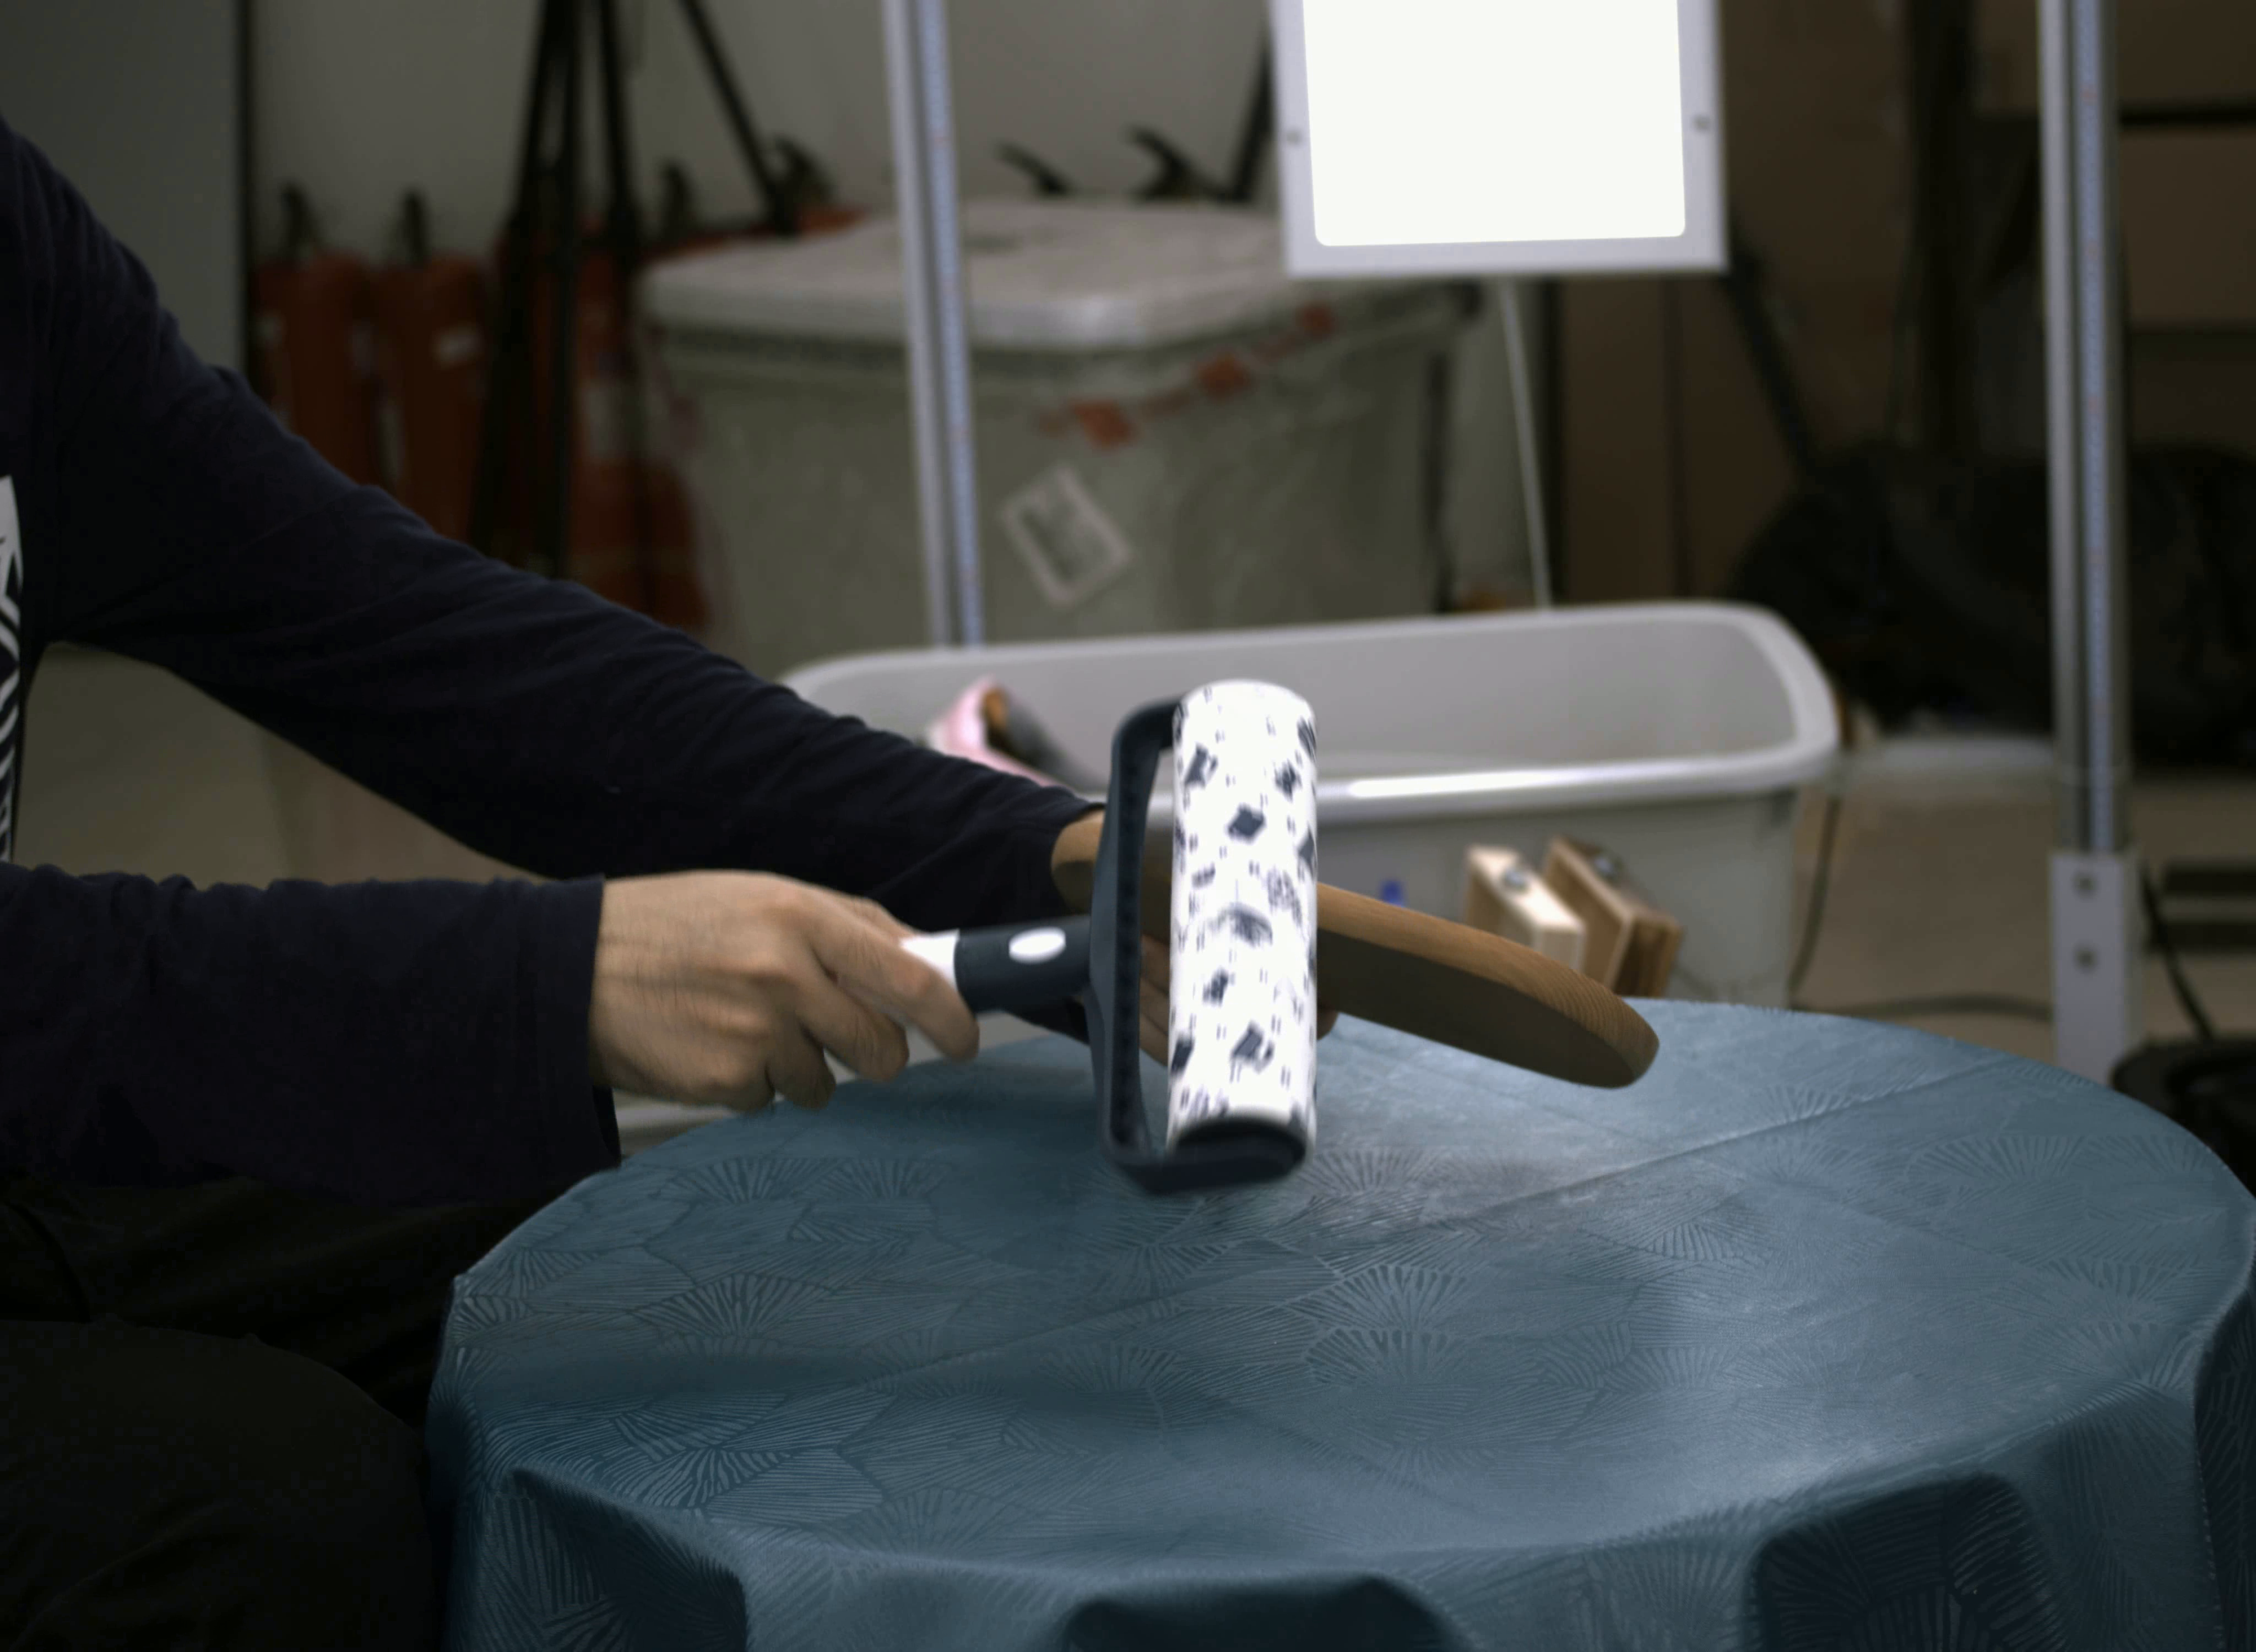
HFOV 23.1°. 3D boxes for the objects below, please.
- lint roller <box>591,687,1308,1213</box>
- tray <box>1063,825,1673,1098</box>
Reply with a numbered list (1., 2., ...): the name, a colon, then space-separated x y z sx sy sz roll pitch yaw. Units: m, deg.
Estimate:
1. lint roller: -0.061 0.053 1.757 0.250 0.050 0.176 -10 56 18
2. tray: 0.079 0.047 1.883 0.235 0.020 0.100 18 -15 29
